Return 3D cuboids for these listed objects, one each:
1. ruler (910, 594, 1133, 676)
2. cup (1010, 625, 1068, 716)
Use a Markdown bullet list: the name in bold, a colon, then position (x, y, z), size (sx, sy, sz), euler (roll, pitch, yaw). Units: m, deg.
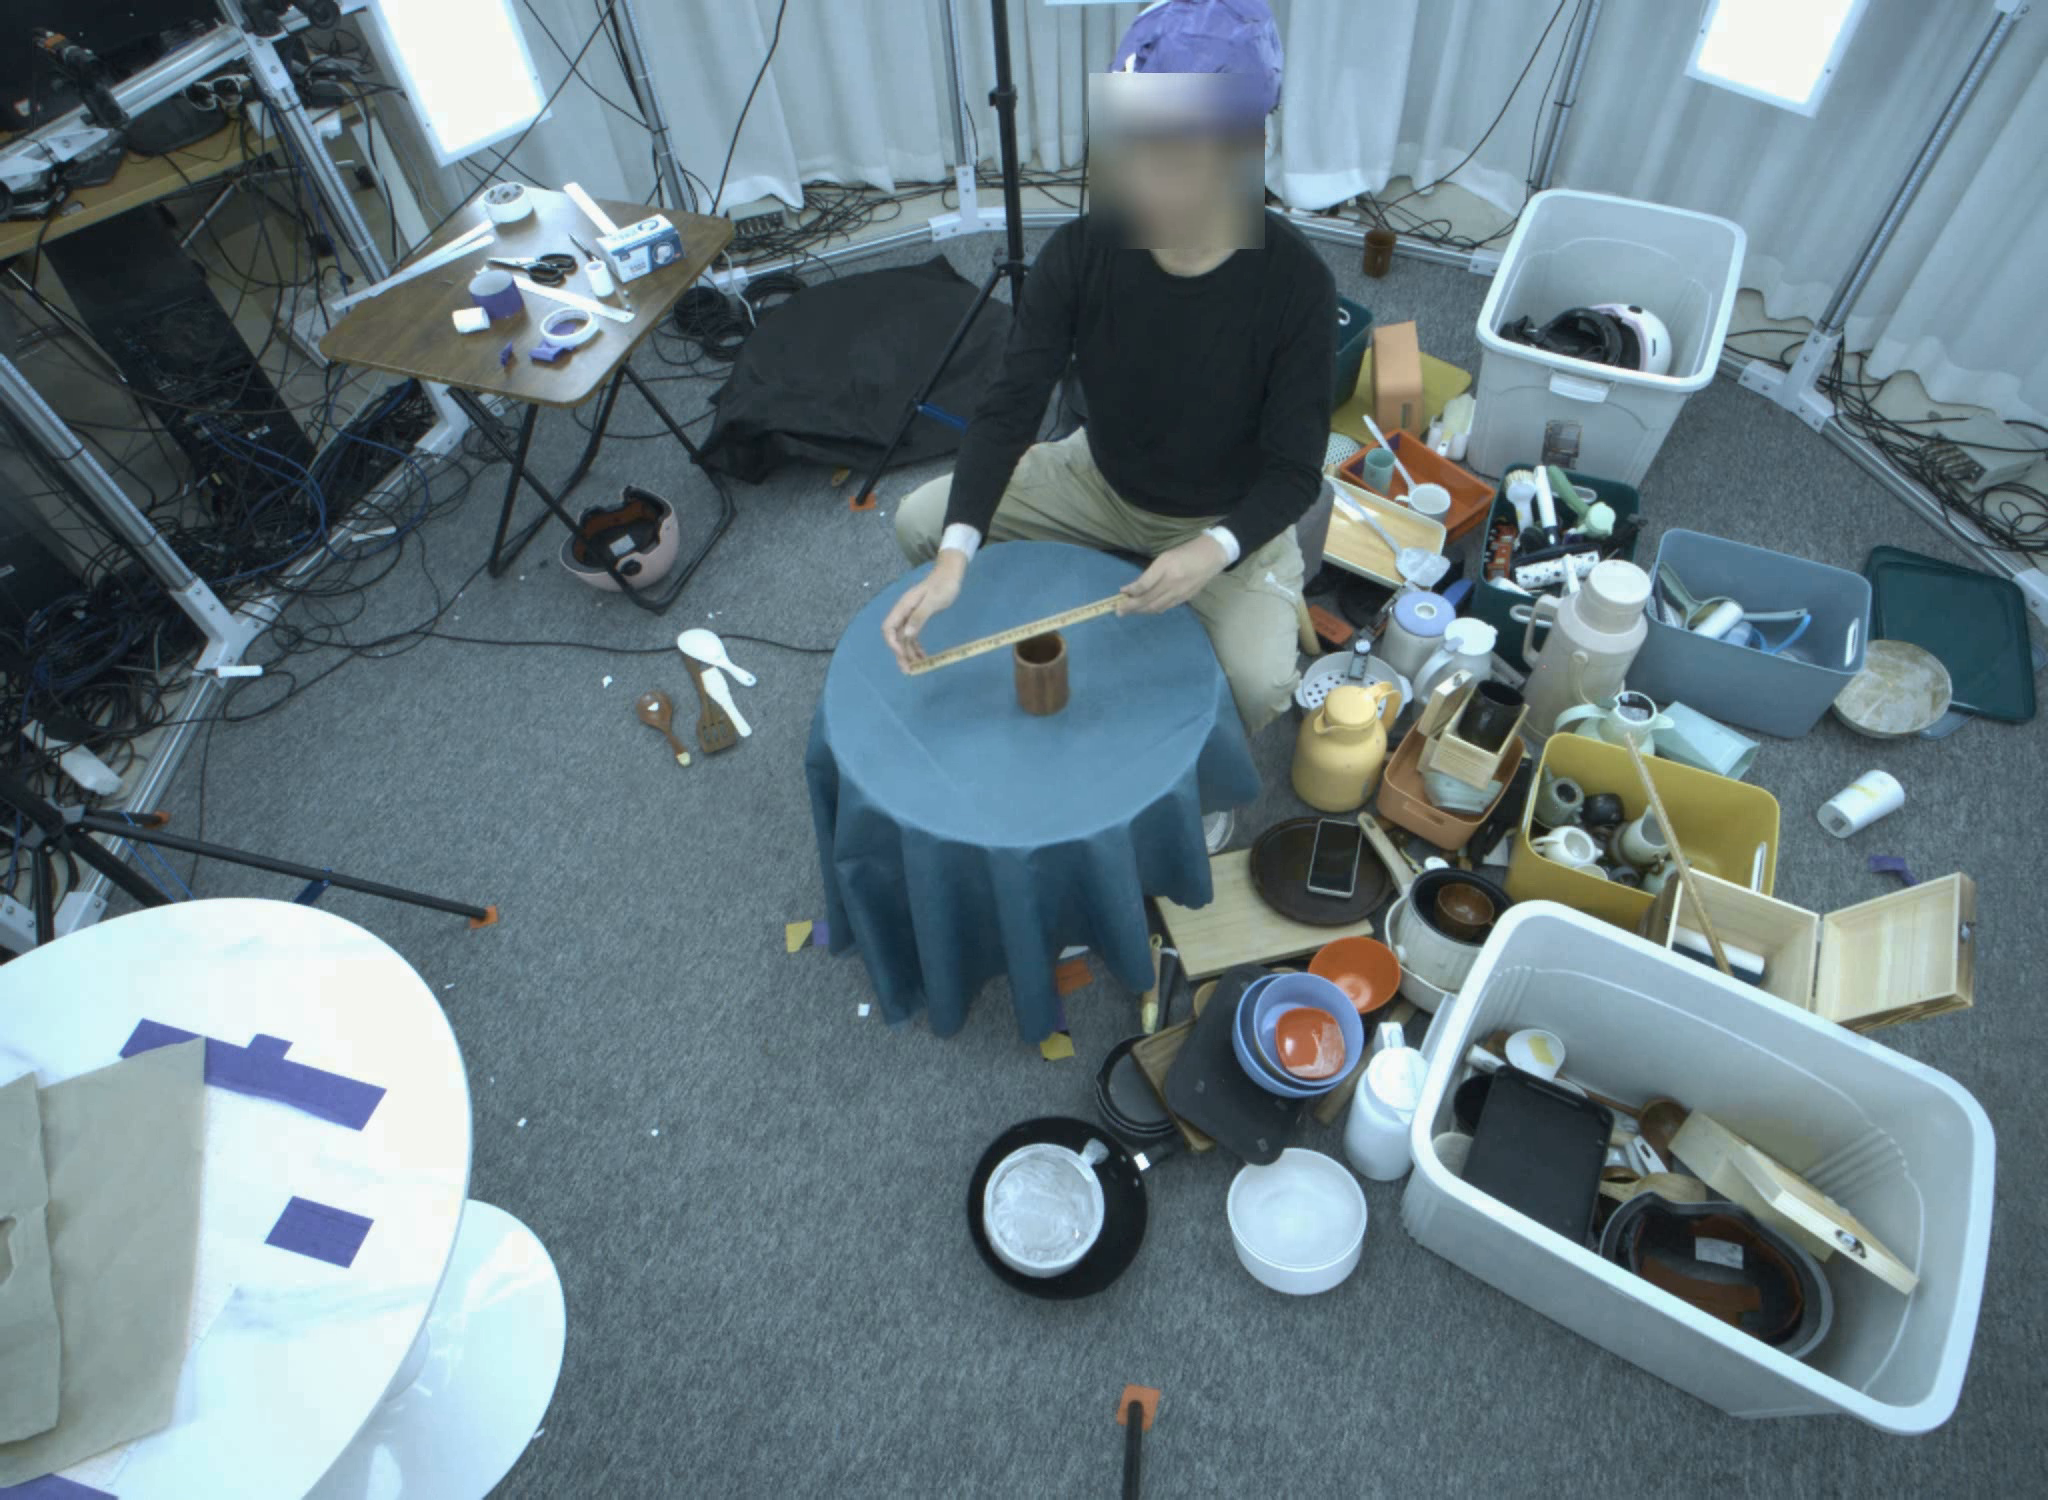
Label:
- **ruler**: position (-0.005, -0.168, 1.763), size (0.332, 0.022, 0.027), euler (-17, 55, -1)
- **cup**: position (0.022, -0.117, 1.798), size (0.087, 0.119, 0.087), euler (-1, 55, 2)
